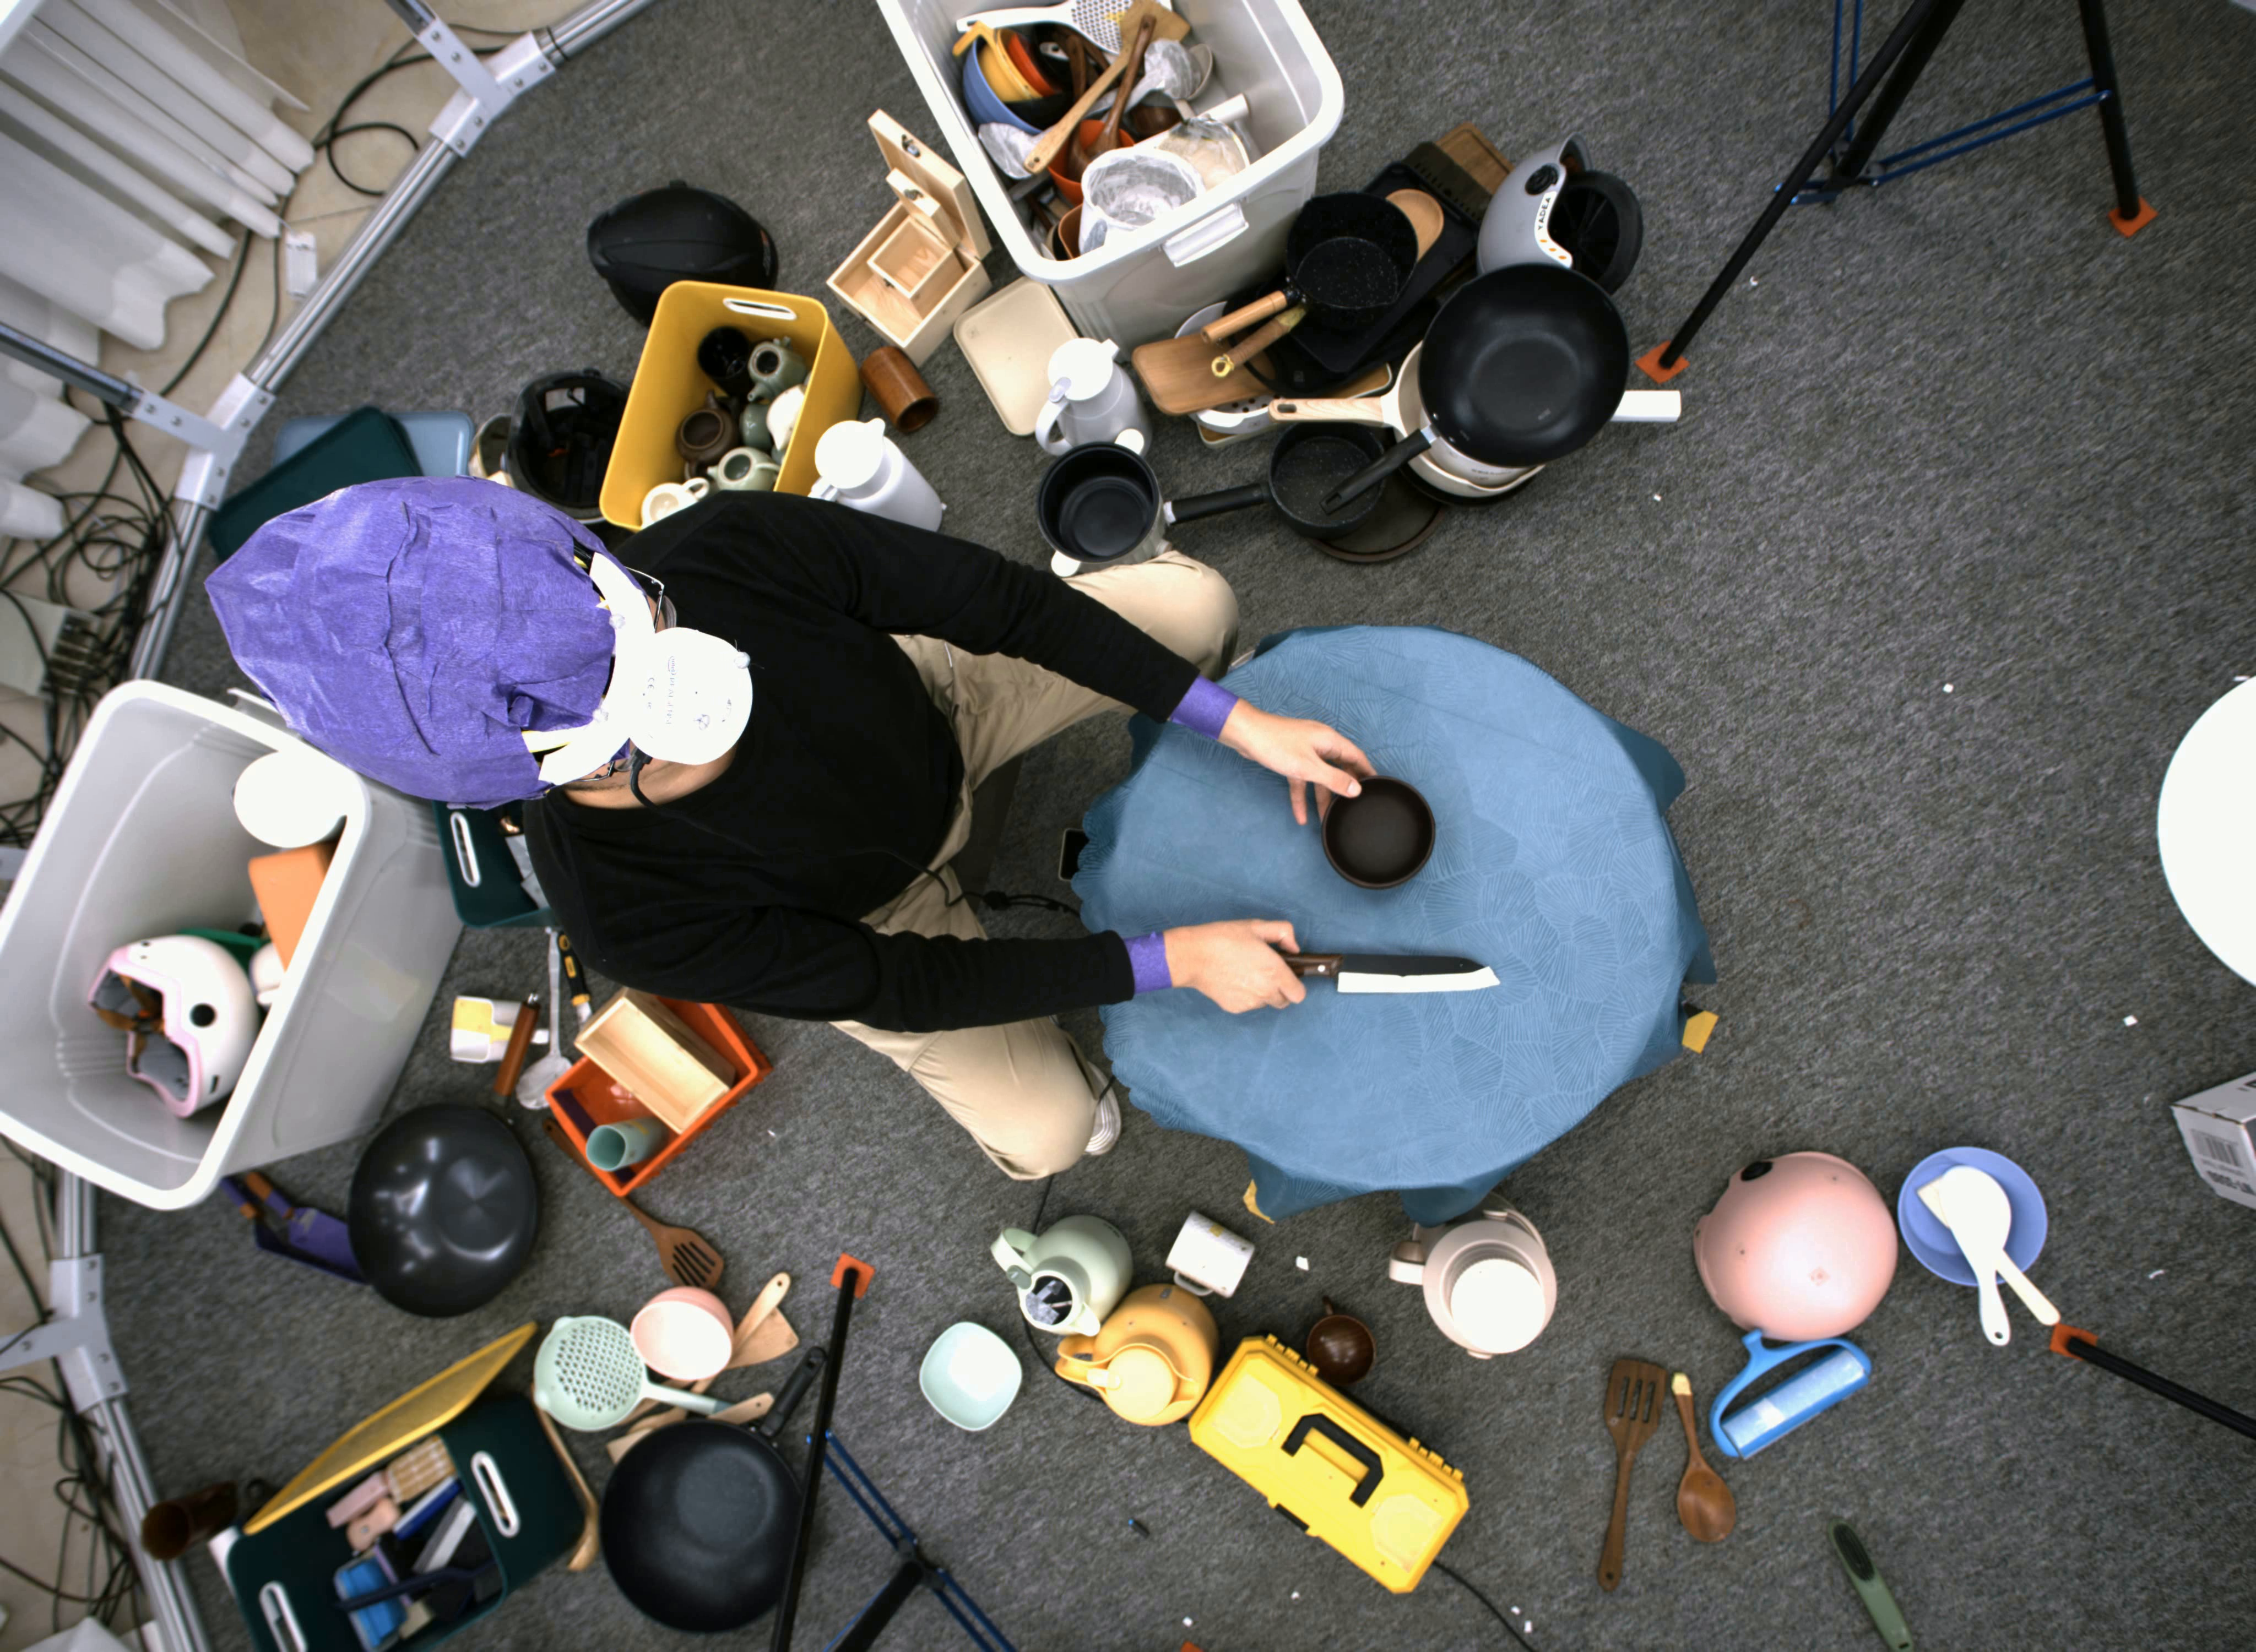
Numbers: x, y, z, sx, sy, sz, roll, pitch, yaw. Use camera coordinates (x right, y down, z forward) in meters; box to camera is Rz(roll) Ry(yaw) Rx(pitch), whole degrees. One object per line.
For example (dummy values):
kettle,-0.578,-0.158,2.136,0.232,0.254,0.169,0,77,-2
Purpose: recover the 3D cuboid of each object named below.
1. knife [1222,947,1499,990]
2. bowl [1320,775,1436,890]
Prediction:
knife,0.243,0.148,1.445,0.290,0.019,0.051,3,116,5
bowl,0.259,0.007,1.430,0.118,0.070,0.117,-1,86,11
